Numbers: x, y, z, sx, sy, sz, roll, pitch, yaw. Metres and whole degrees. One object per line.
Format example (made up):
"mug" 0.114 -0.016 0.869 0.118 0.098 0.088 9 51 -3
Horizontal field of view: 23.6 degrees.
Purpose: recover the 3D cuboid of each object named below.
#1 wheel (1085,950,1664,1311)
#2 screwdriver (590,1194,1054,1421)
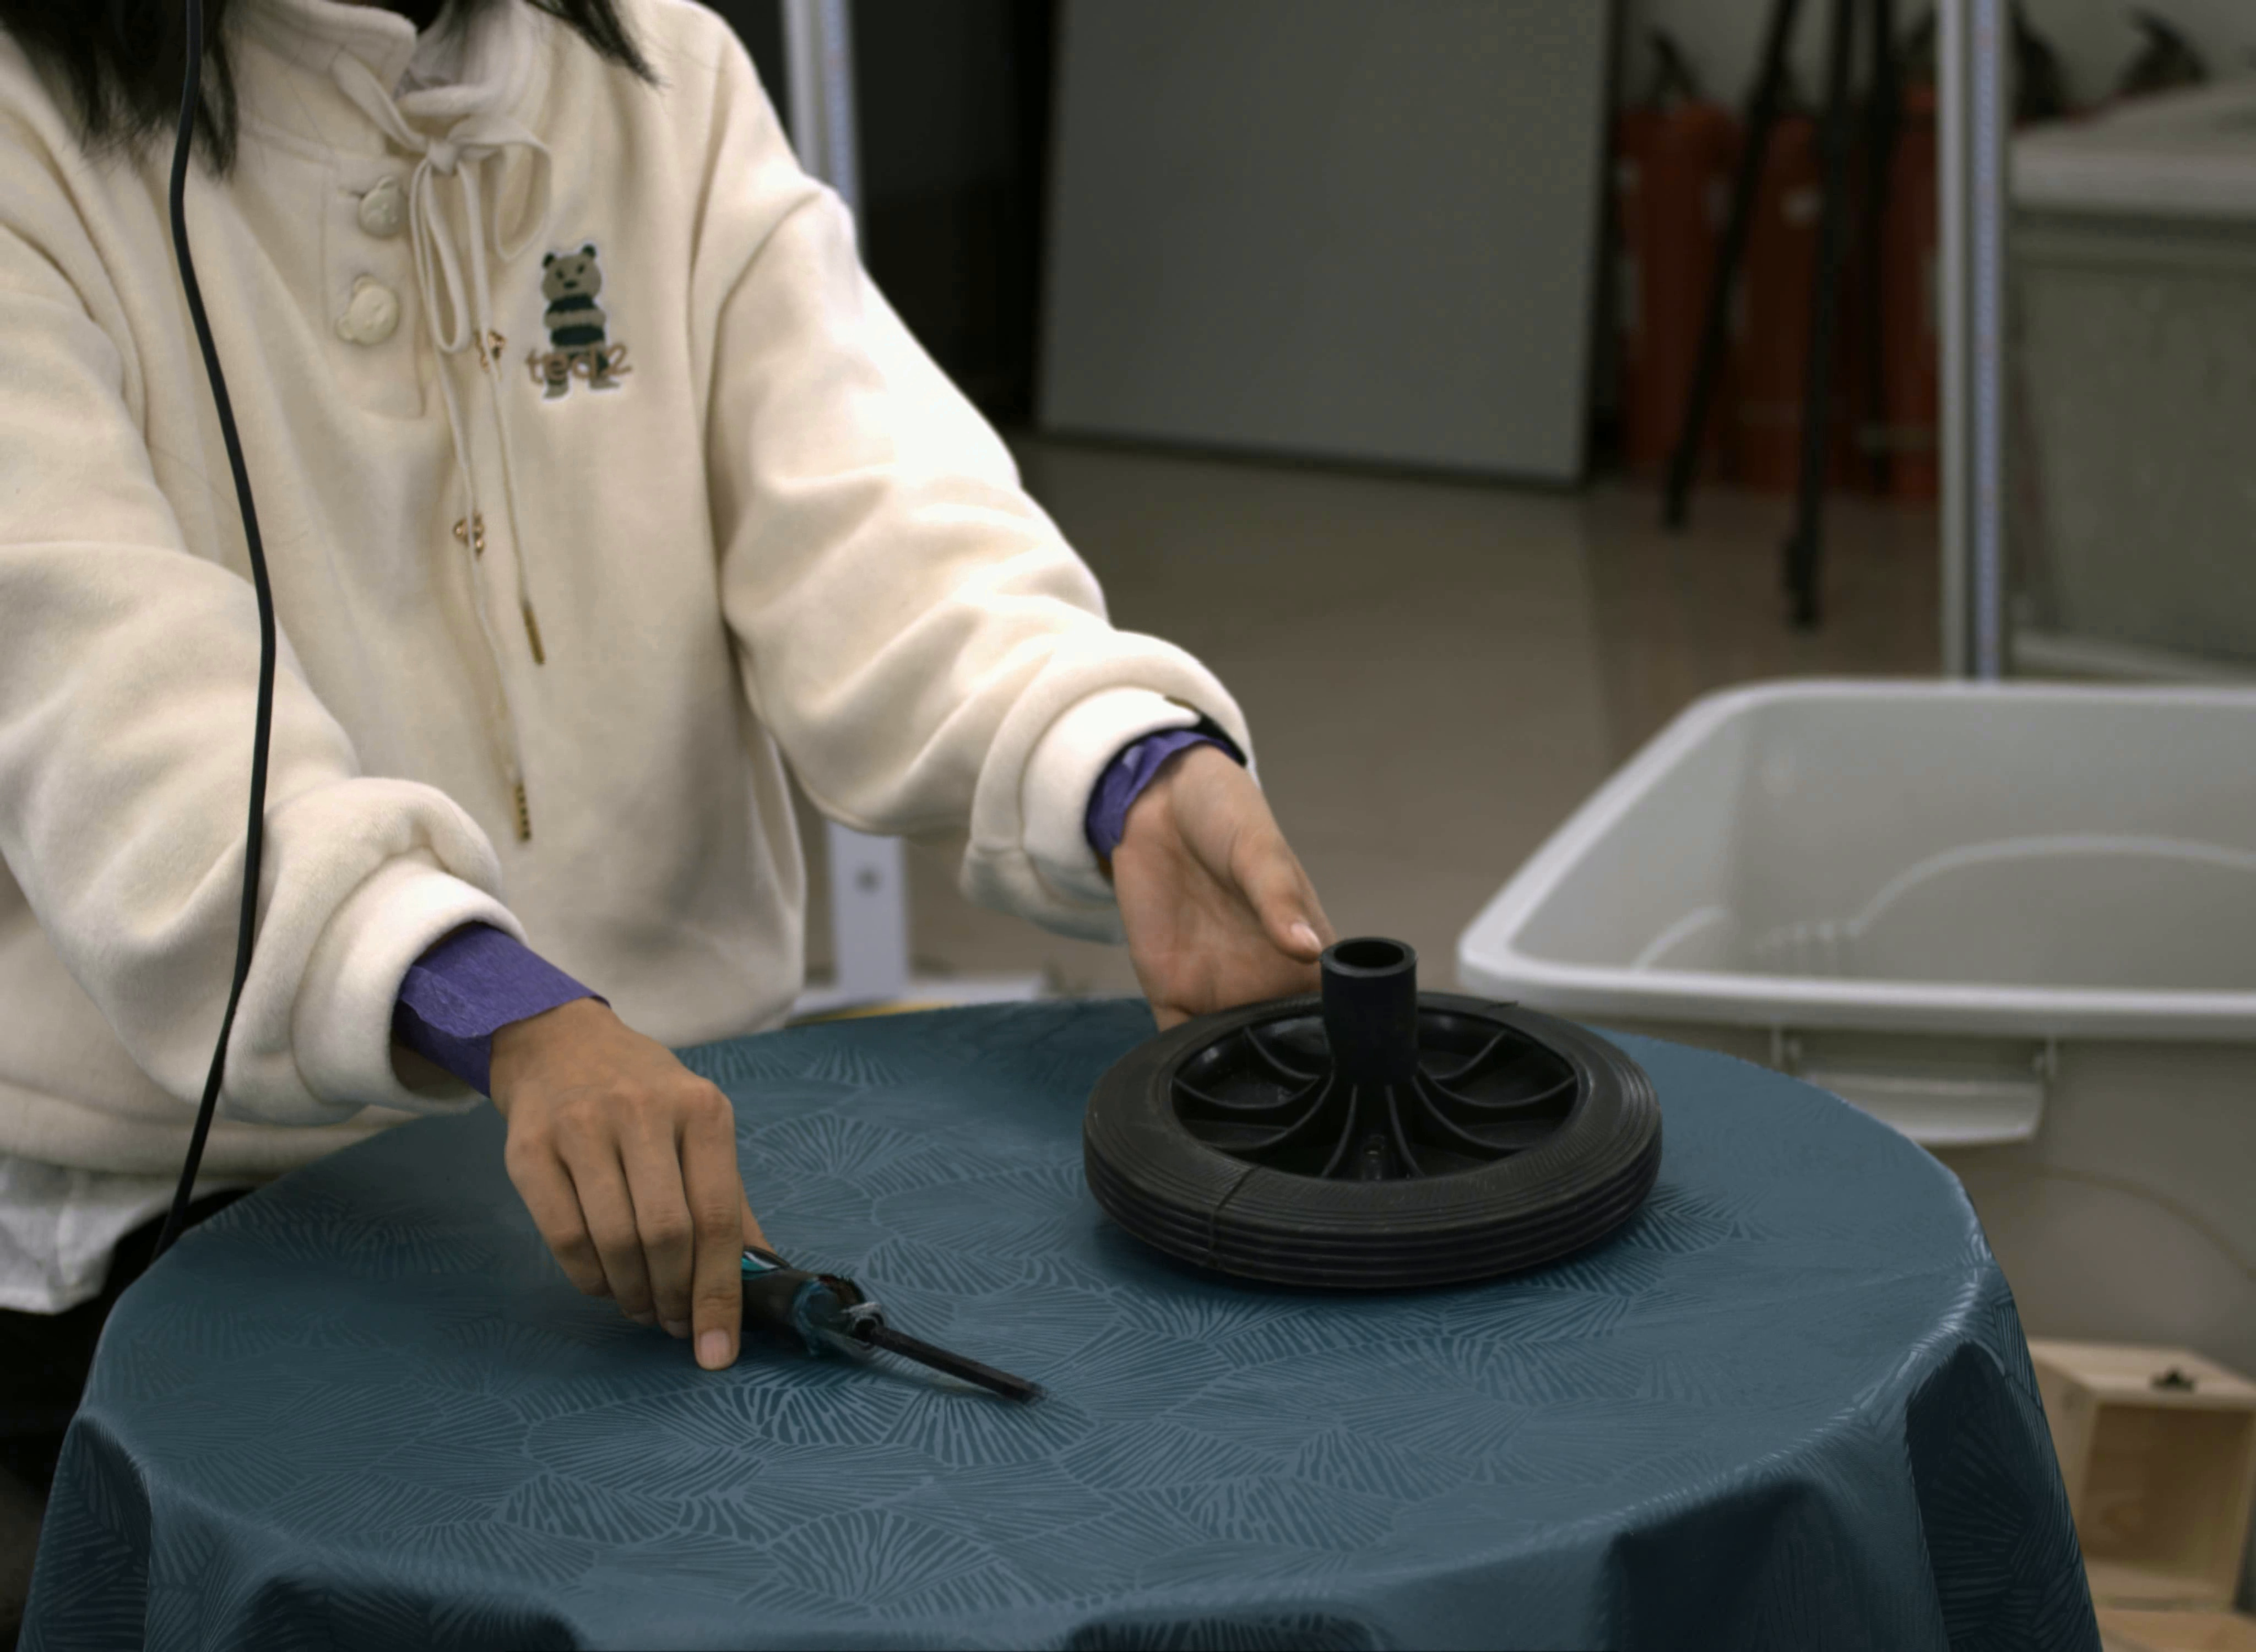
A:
"wheel" 0.079 0.083 1.722 0.184 0.080 0.192 -10 25 -17
"screwdriver" -0.092 0.149 1.632 0.191 0.034 0.033 18 24 40
